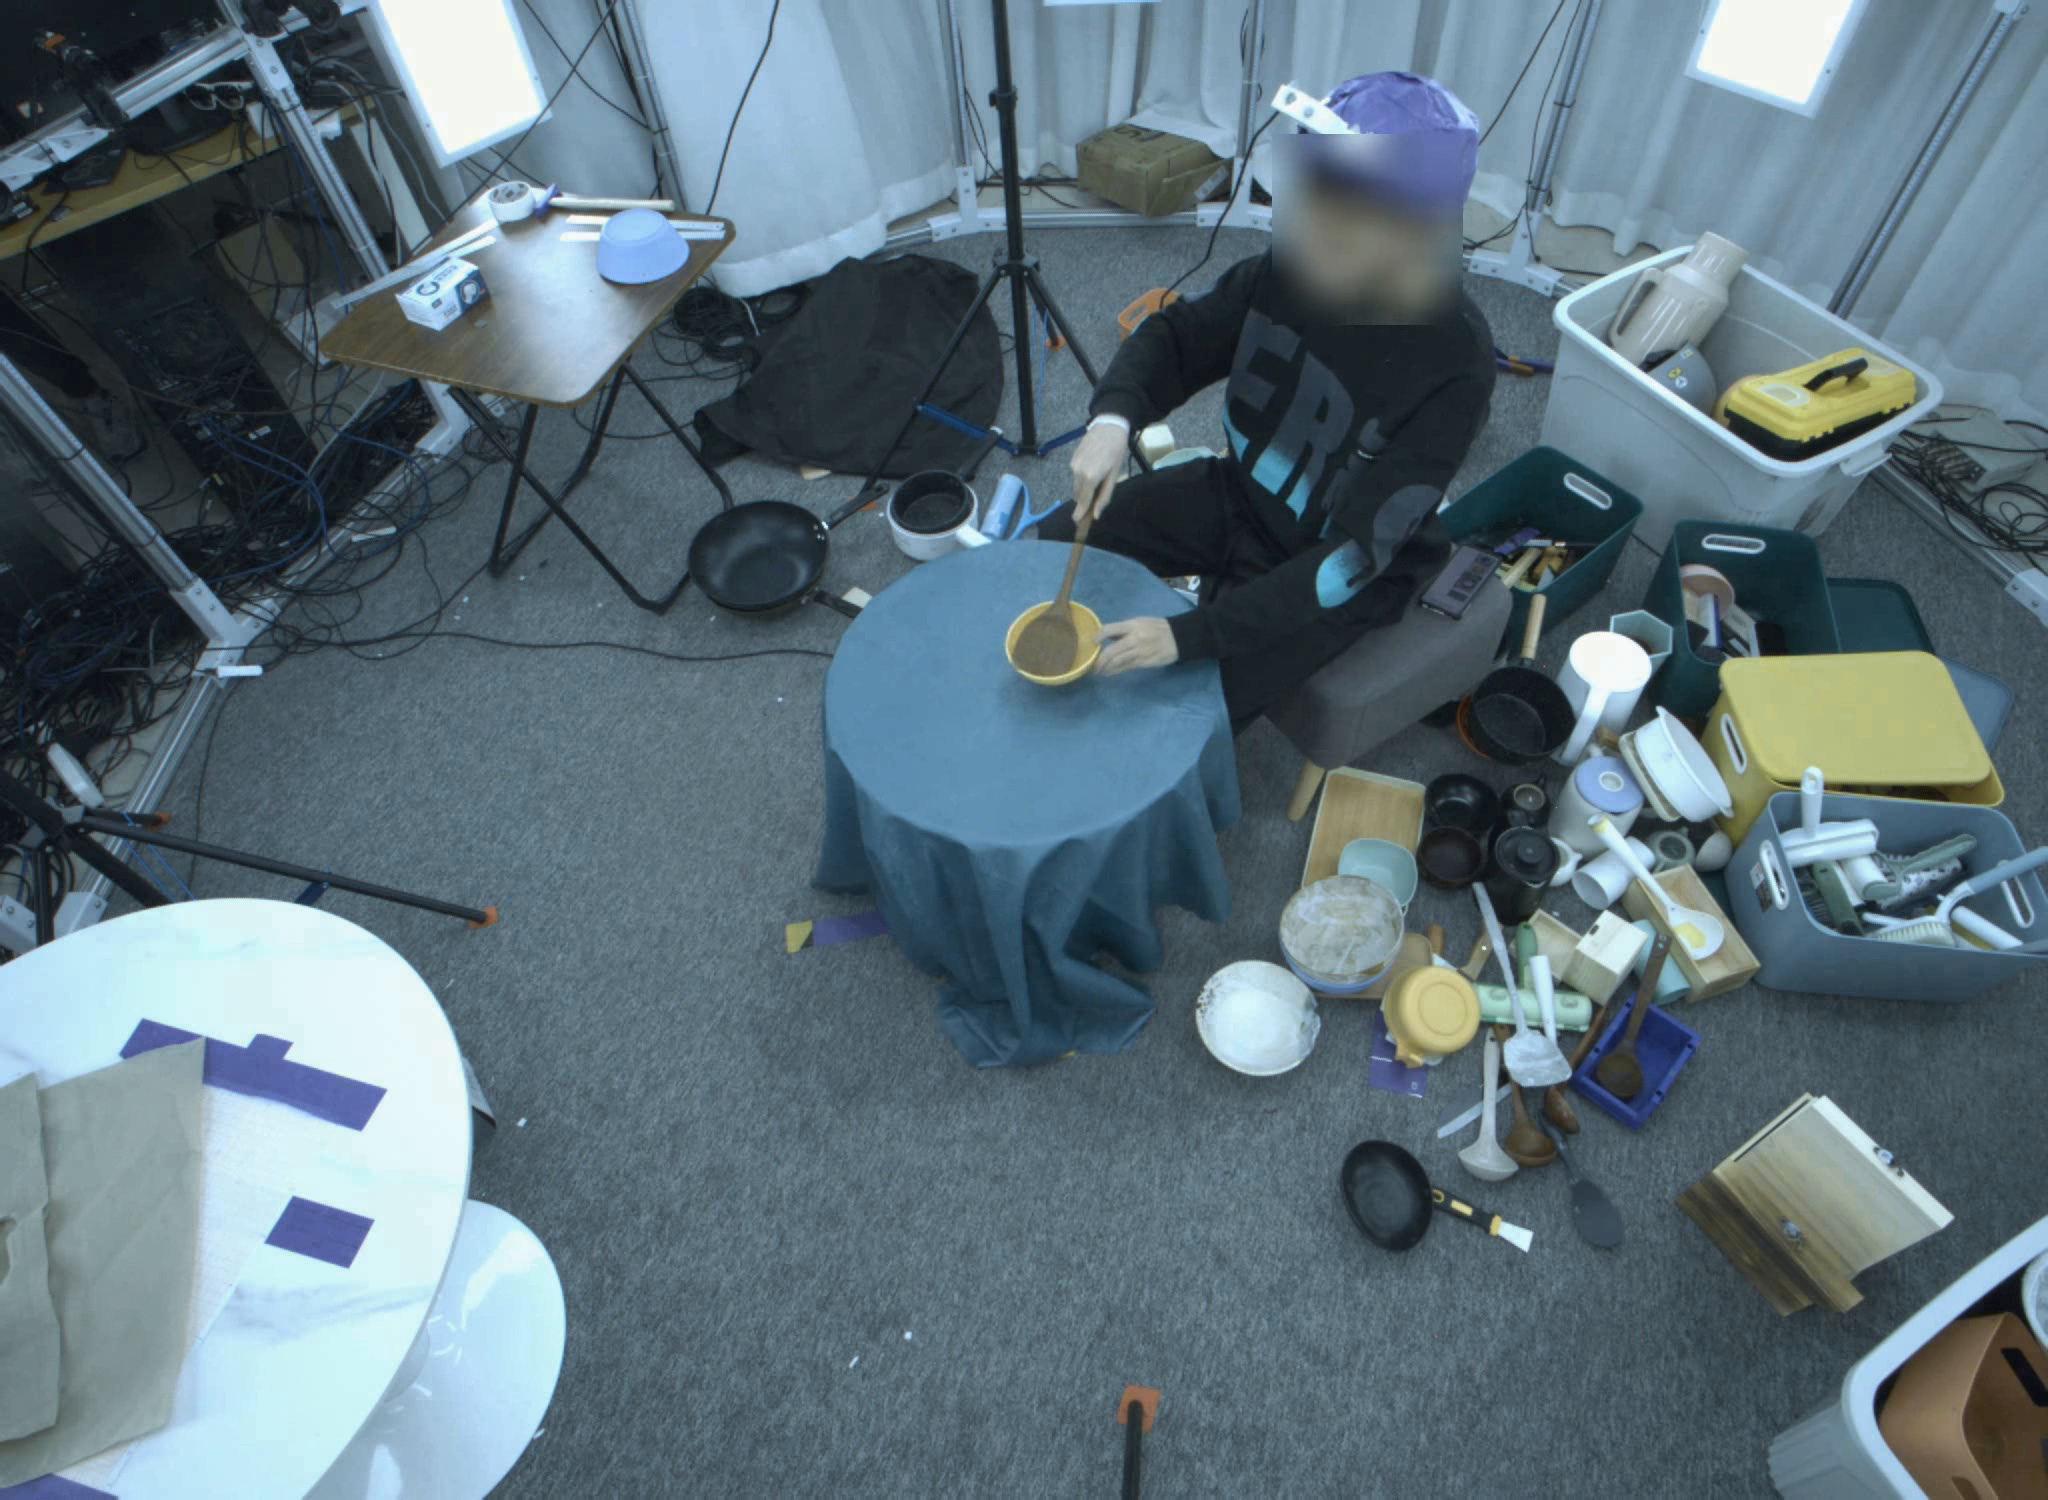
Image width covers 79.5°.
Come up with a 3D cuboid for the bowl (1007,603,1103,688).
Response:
[{"bbox_3d":[0.050,-0.145,1.840,0.145,0.061,0.144,-3,60,6],"label":"bowl"}]

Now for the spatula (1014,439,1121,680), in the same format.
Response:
[{"bbox_3d":[0.078,-0.288,1.817,0.095,0.016,0.385,15,84,19],"label":"spatula"}]
